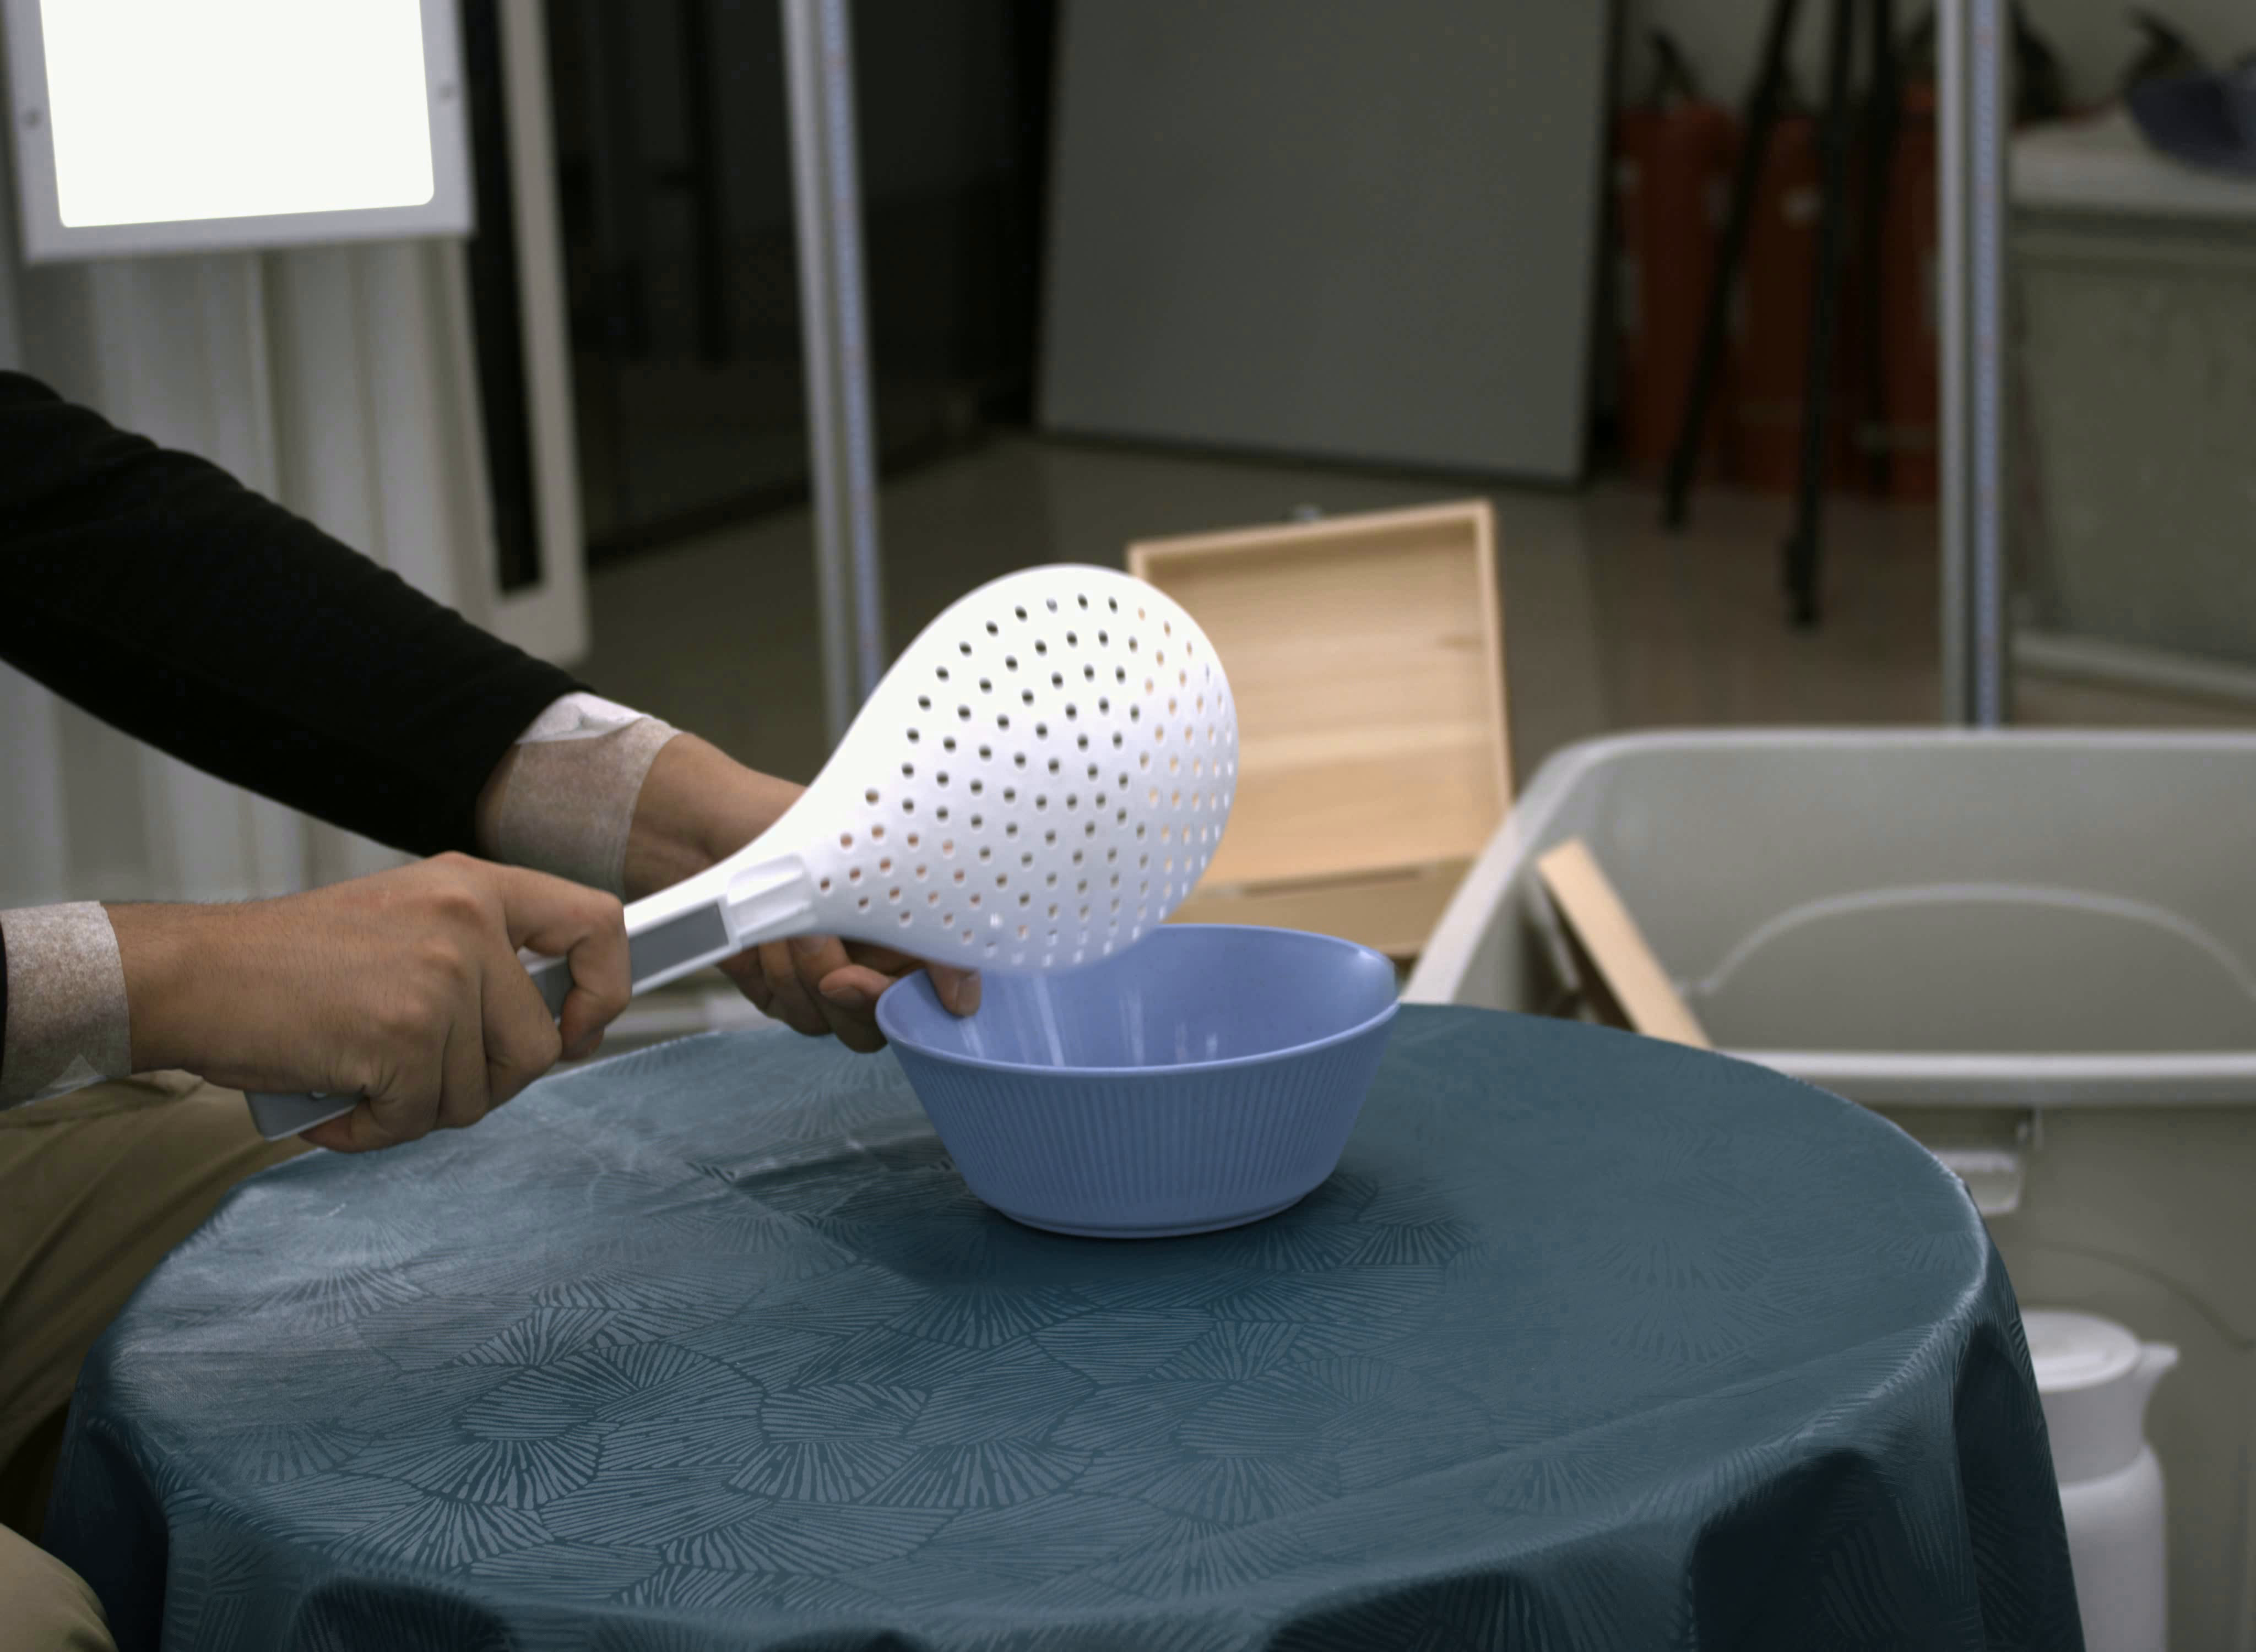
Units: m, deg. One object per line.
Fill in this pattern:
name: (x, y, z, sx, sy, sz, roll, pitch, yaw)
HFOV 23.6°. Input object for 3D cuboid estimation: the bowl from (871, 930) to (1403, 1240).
bowl: (0.005, 0.086, 1.761, 0.174, 0.071, 0.176, -5, 13, 0)

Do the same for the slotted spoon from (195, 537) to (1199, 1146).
slotted spoon: (-0.128, 0.018, 1.690, 0.344, 0.137, 0.046, -22, 24, -12)
